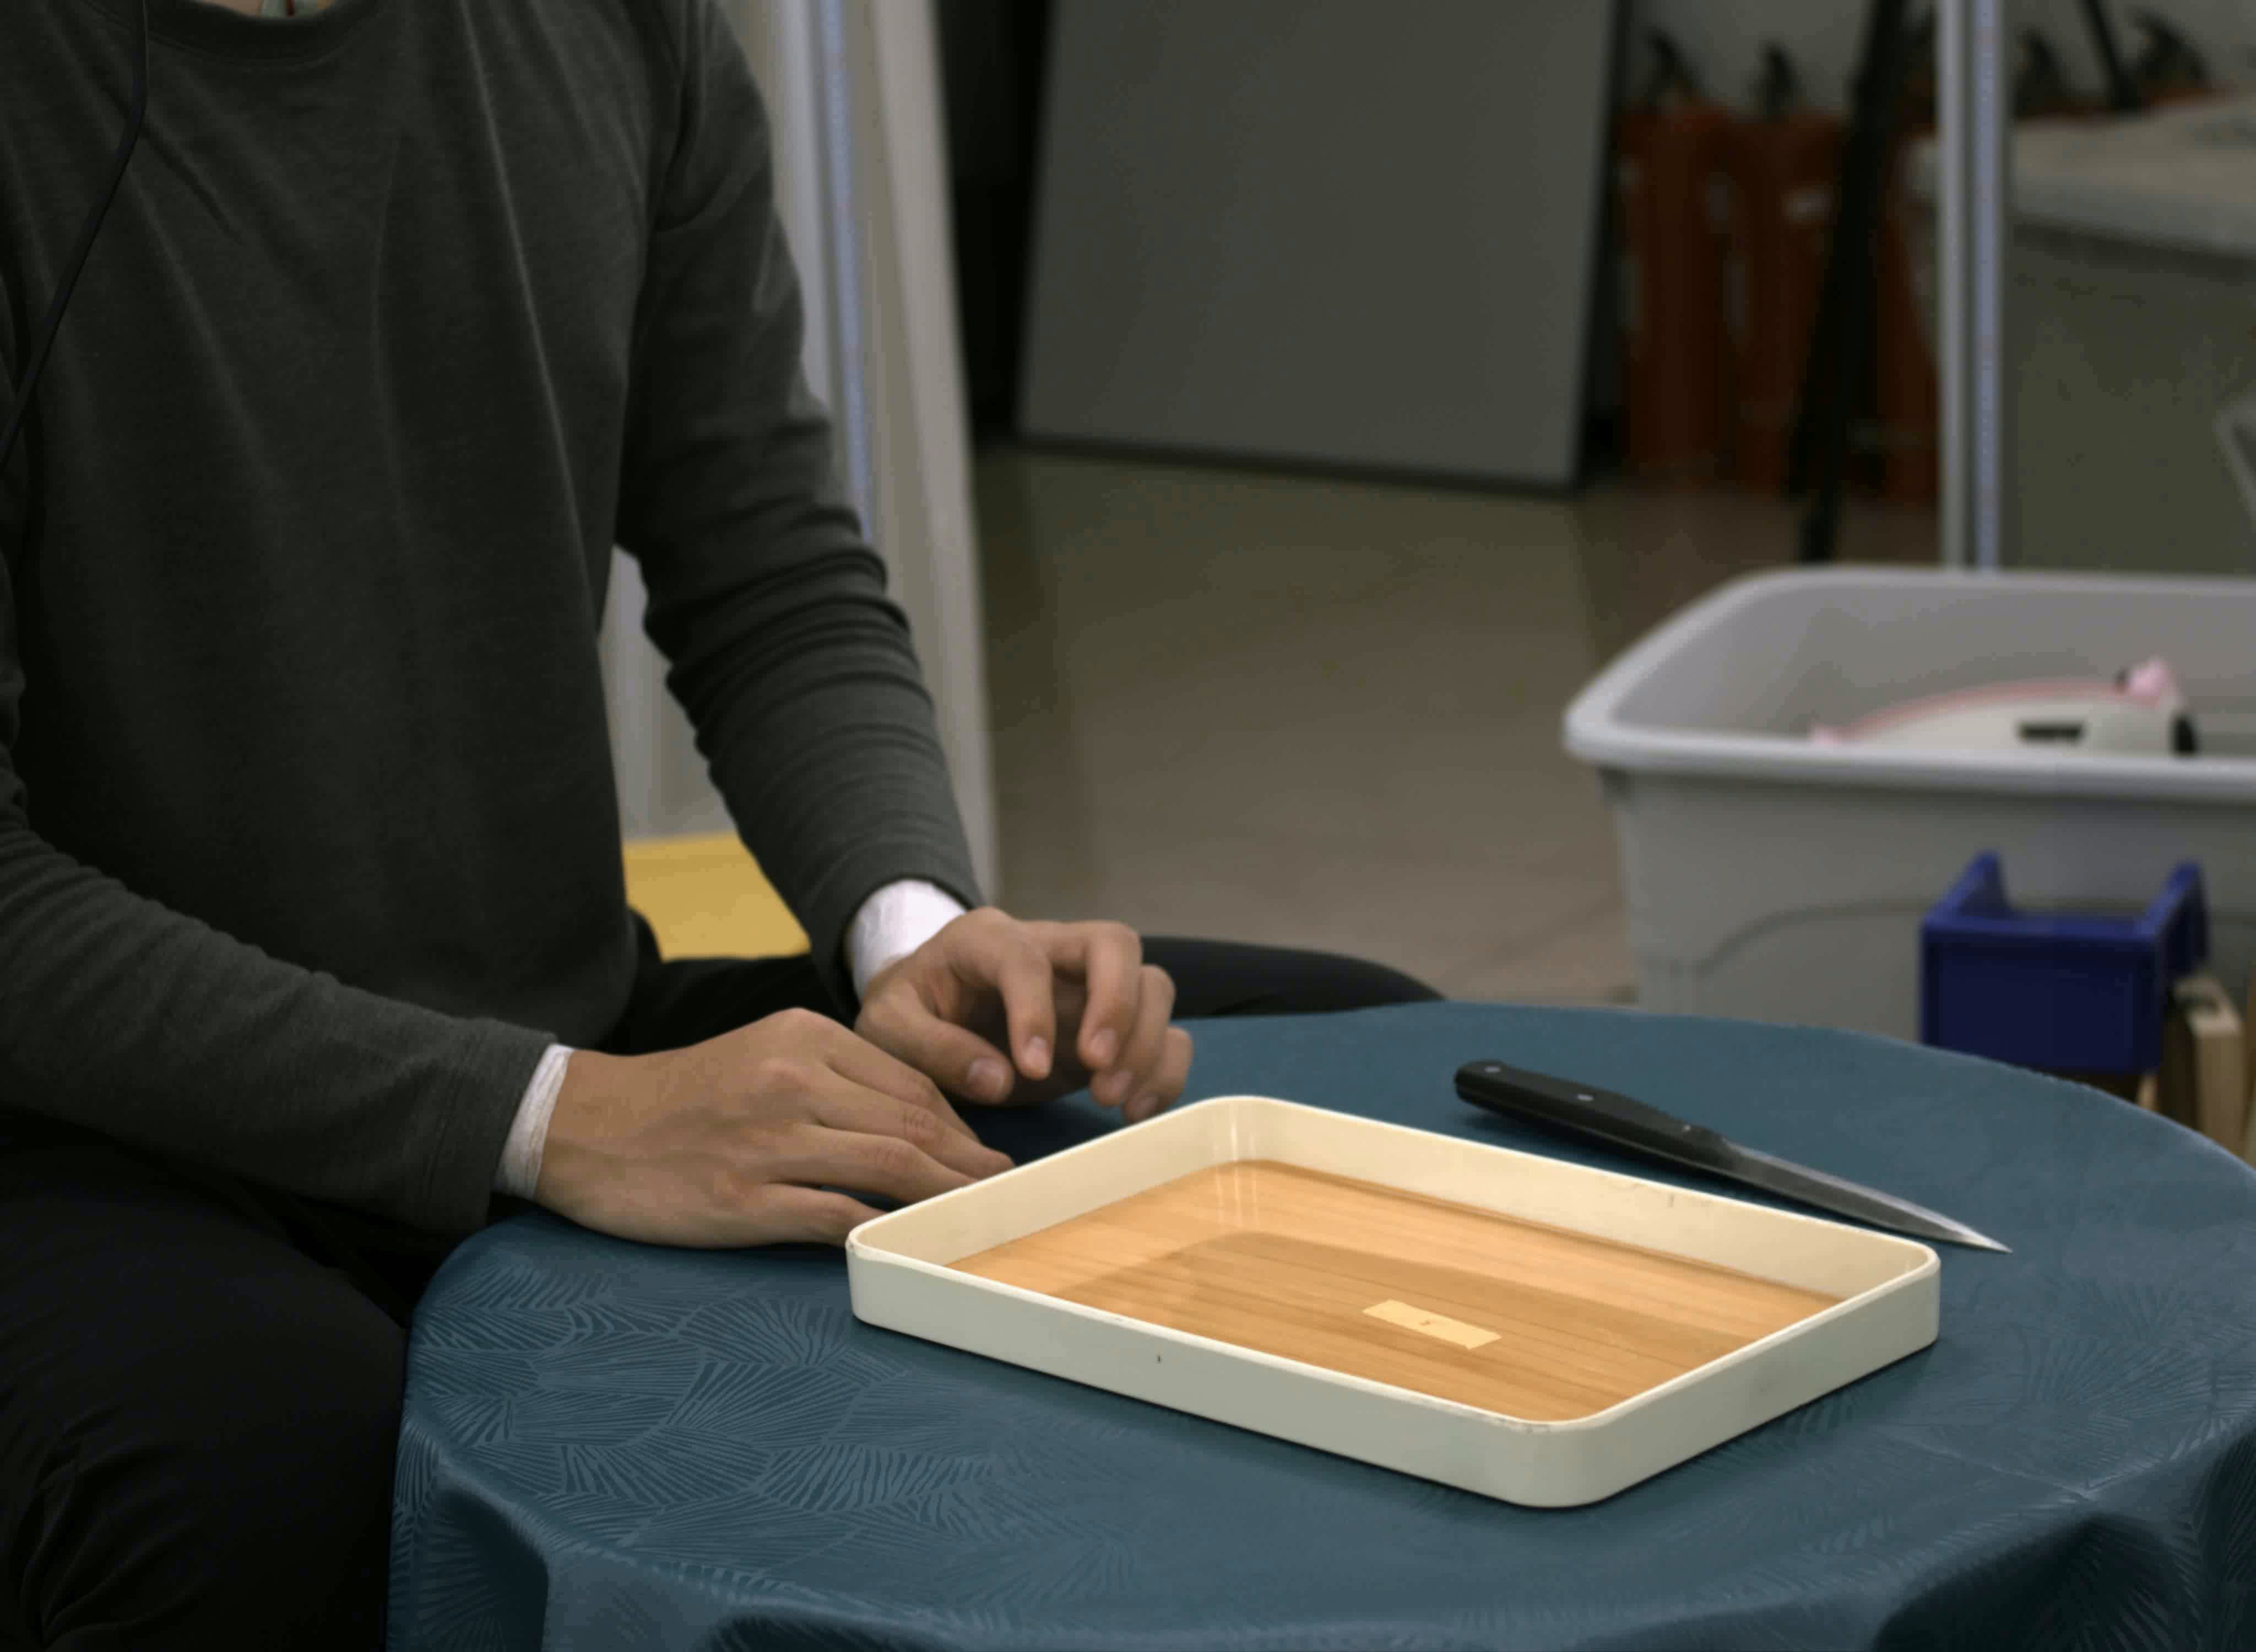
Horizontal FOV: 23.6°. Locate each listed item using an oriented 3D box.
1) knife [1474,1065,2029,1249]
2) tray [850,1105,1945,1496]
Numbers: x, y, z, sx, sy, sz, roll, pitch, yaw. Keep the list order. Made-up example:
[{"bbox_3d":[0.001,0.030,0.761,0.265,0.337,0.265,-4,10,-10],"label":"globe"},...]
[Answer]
[{"bbox_3d":[0.196,0.109,1.741,0.024,0.016,0.240,-20,23,-37],"label":"knife"},{"bbox_3d":[0.078,0.139,1.624,0.187,0.028,0.303,-15,17,-42],"label":"tray"}]
